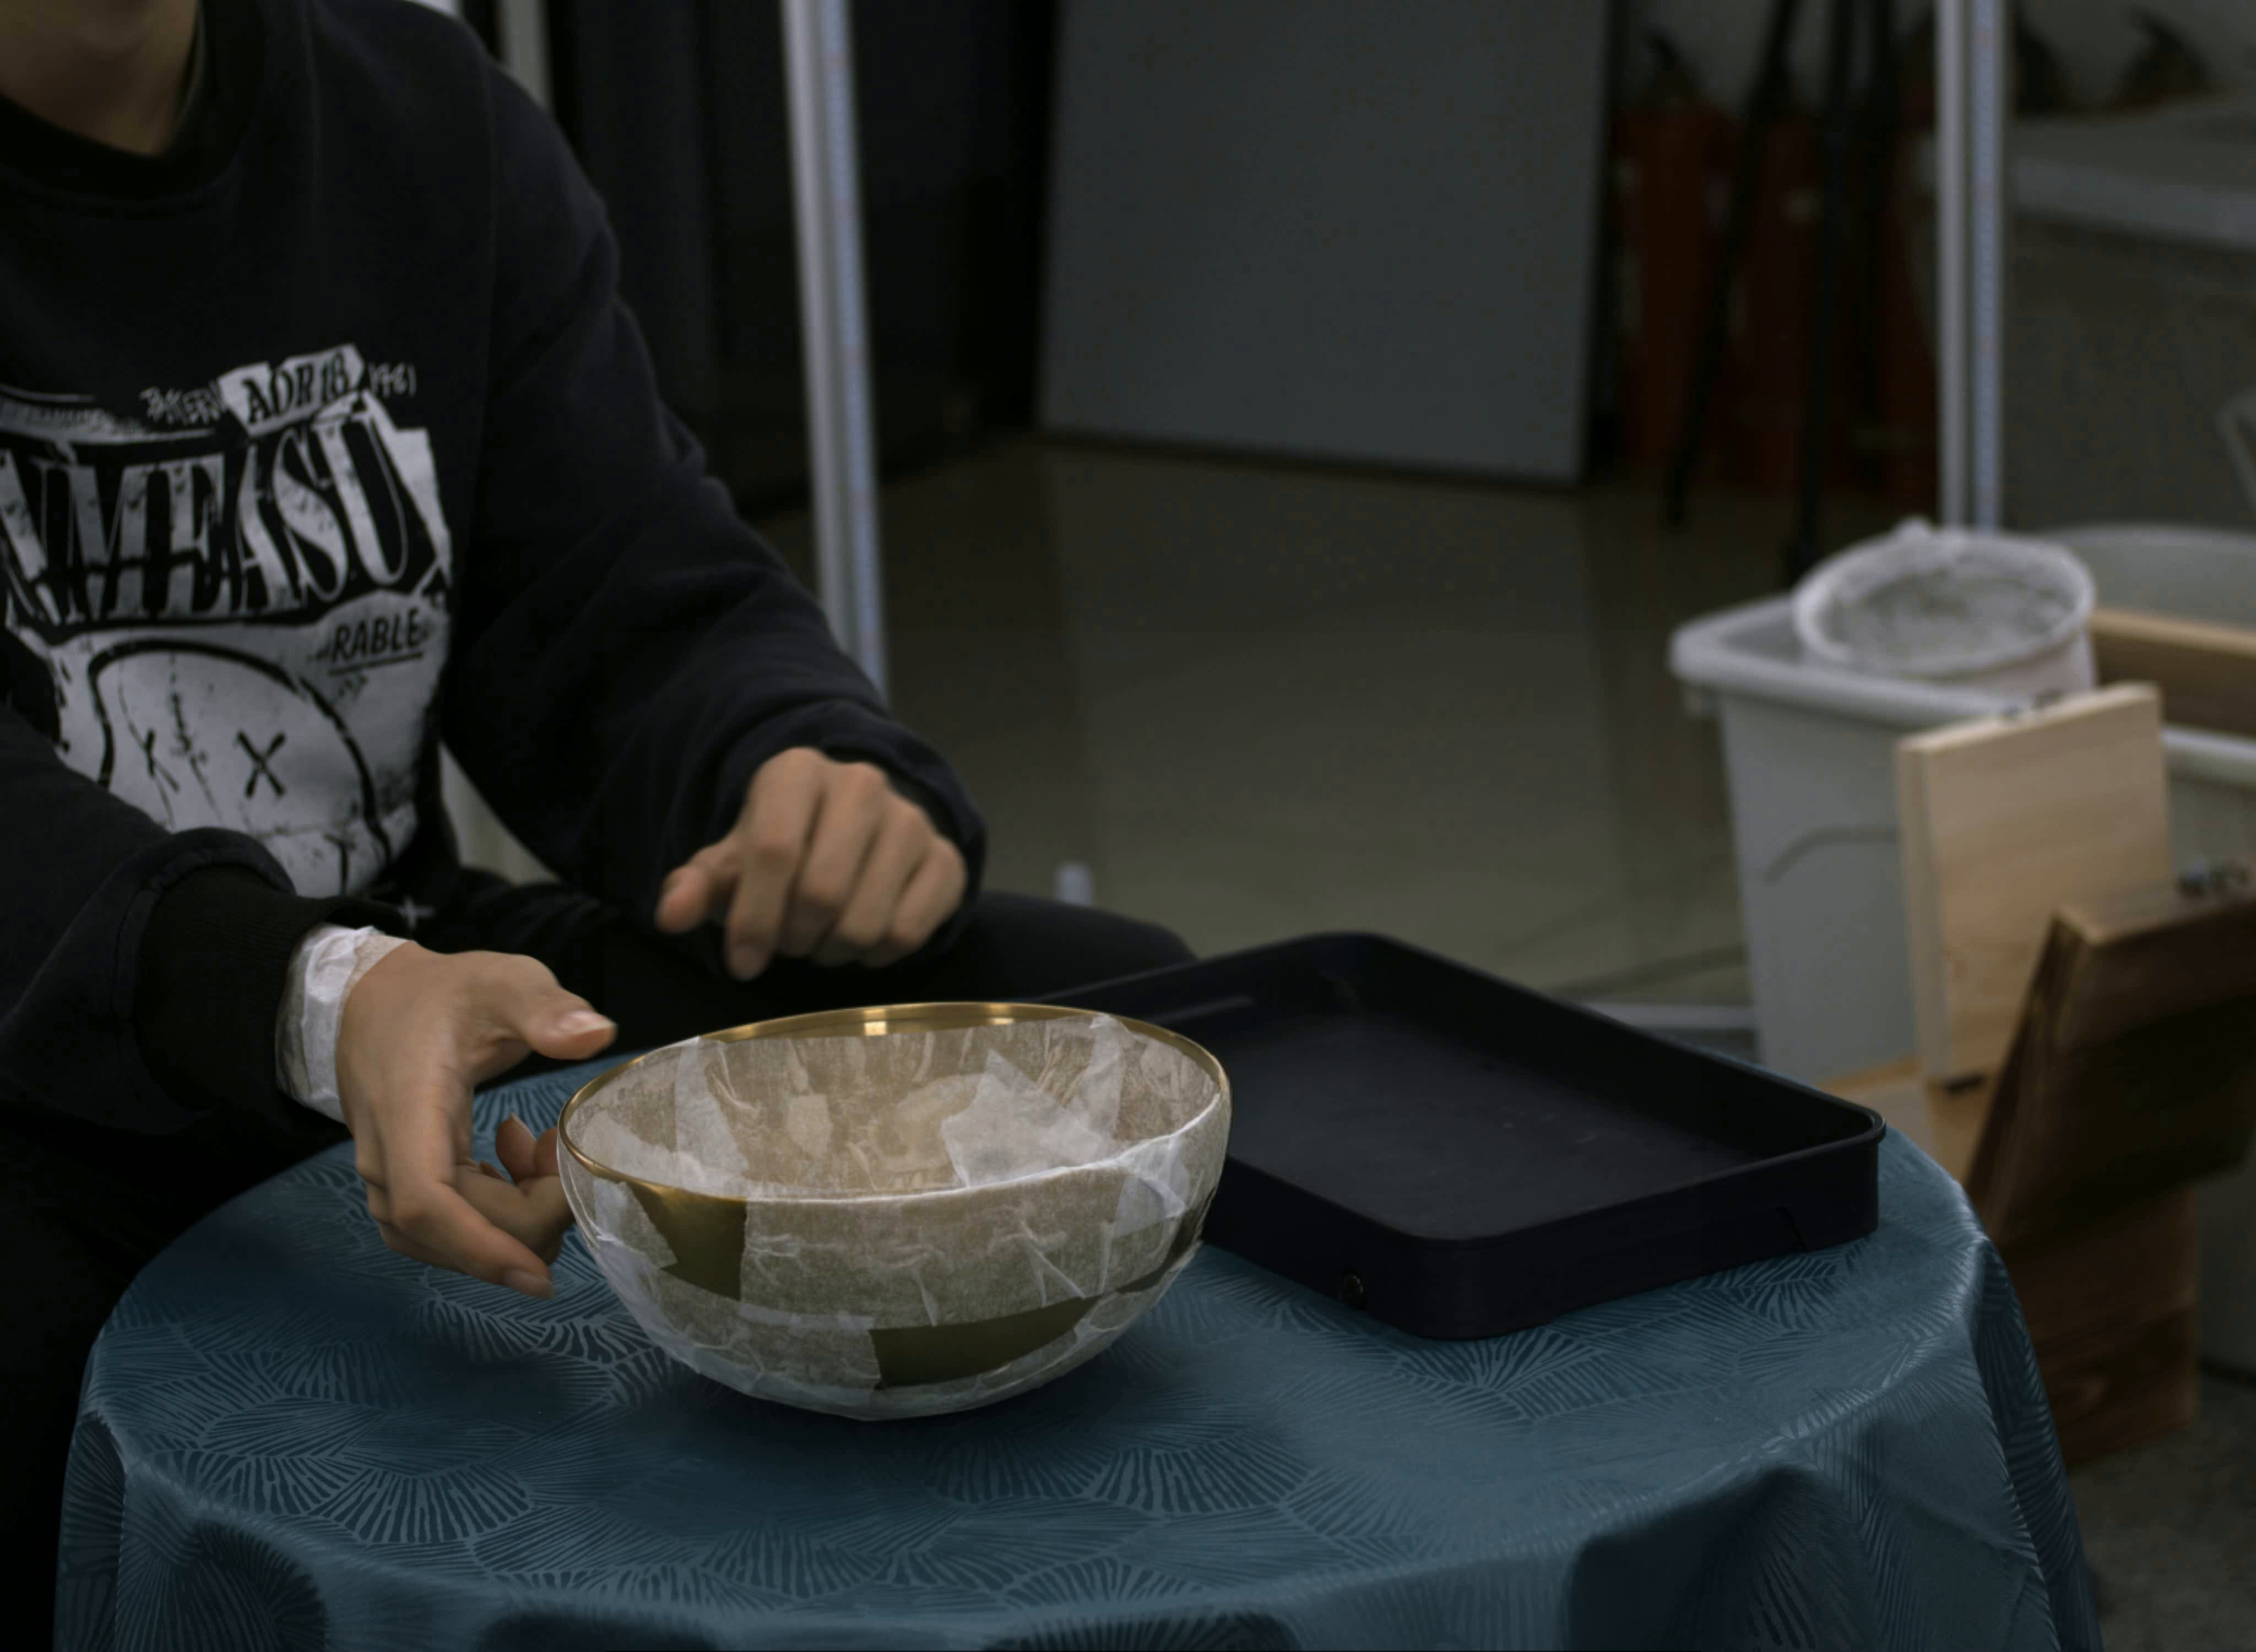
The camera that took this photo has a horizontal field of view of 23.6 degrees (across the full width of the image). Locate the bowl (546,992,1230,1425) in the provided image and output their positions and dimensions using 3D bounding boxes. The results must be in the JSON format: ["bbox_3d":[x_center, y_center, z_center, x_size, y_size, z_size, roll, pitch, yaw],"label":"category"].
[{"bbox_3d":[-0.066,0.120,1.601,0.212,0.095,0.215,-5,14,0],"label":"bowl"}]

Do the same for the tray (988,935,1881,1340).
[{"bbox_3d":[0.088,0.097,1.769,0.180,0.037,0.321,-11,16,-28],"label":"tray"}]
